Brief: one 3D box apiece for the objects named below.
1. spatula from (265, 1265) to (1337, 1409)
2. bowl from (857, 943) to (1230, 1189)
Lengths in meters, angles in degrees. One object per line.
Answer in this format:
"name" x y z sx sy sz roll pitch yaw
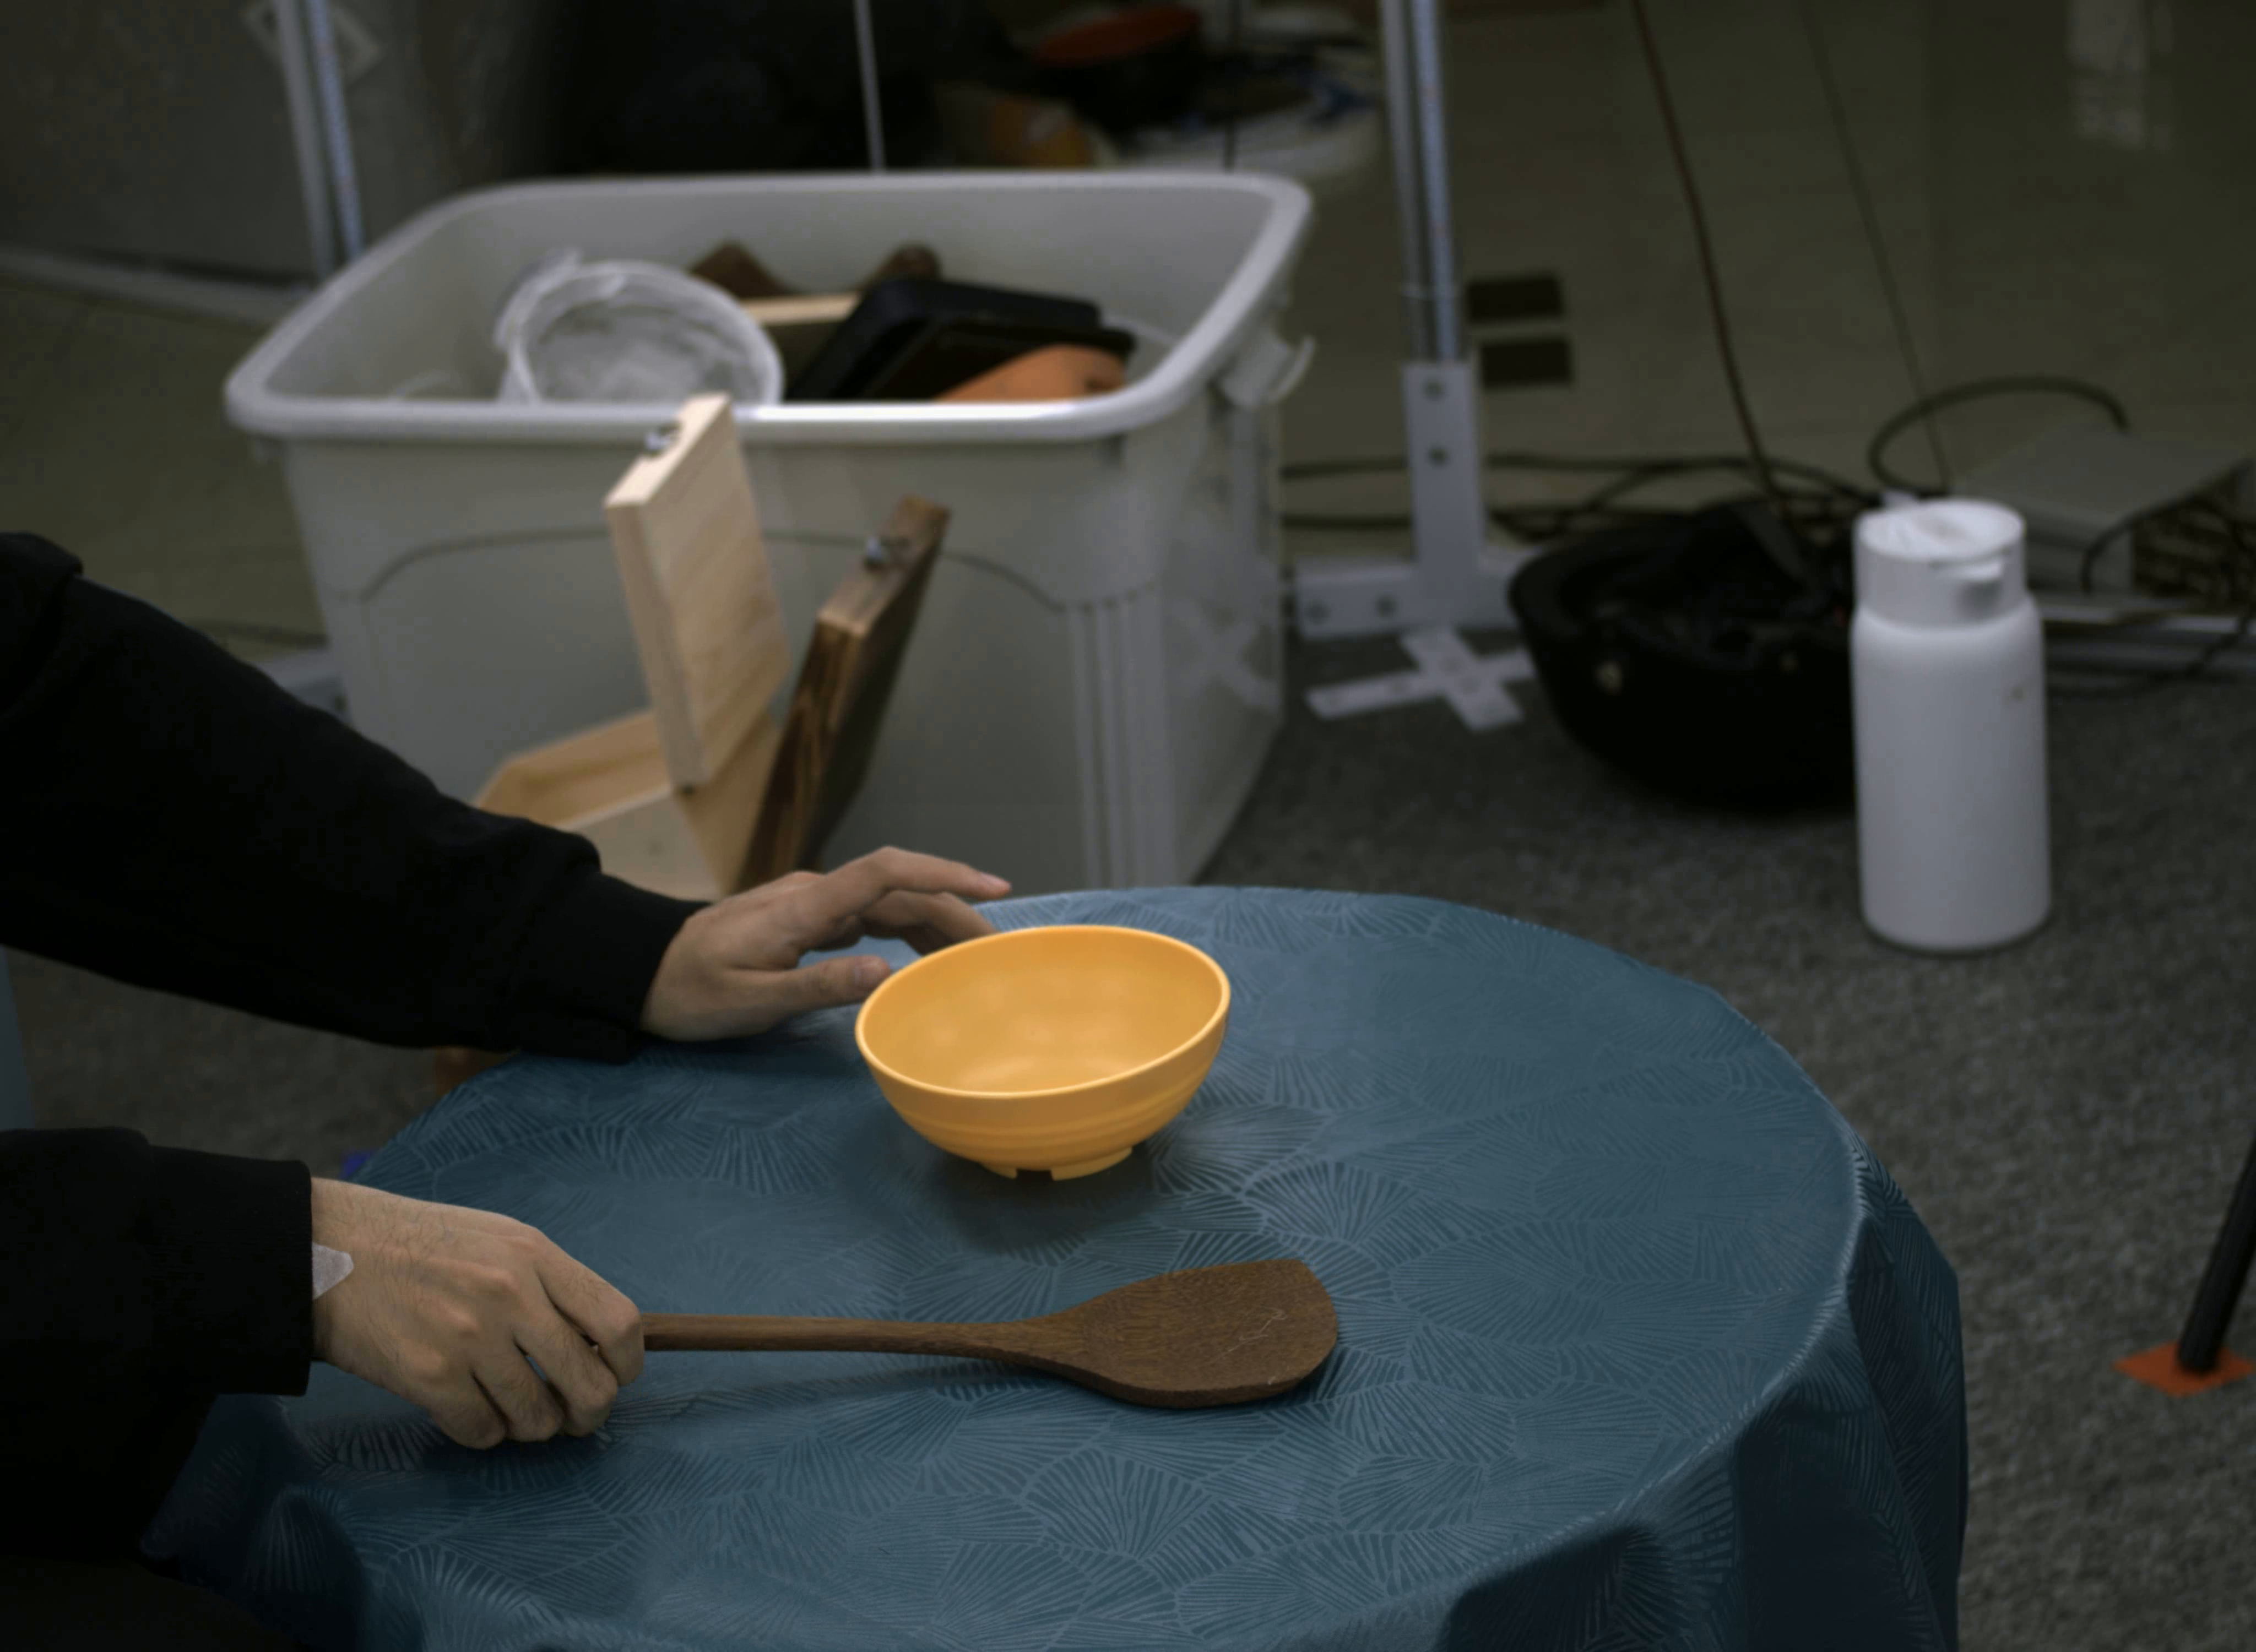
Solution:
"spatula" -0.118 0.184 2.038 0.385 0.016 0.095 0 24 -1
"bowl" -0.030 0.099 2.181 0.145 0.061 0.143 -6 22 3
